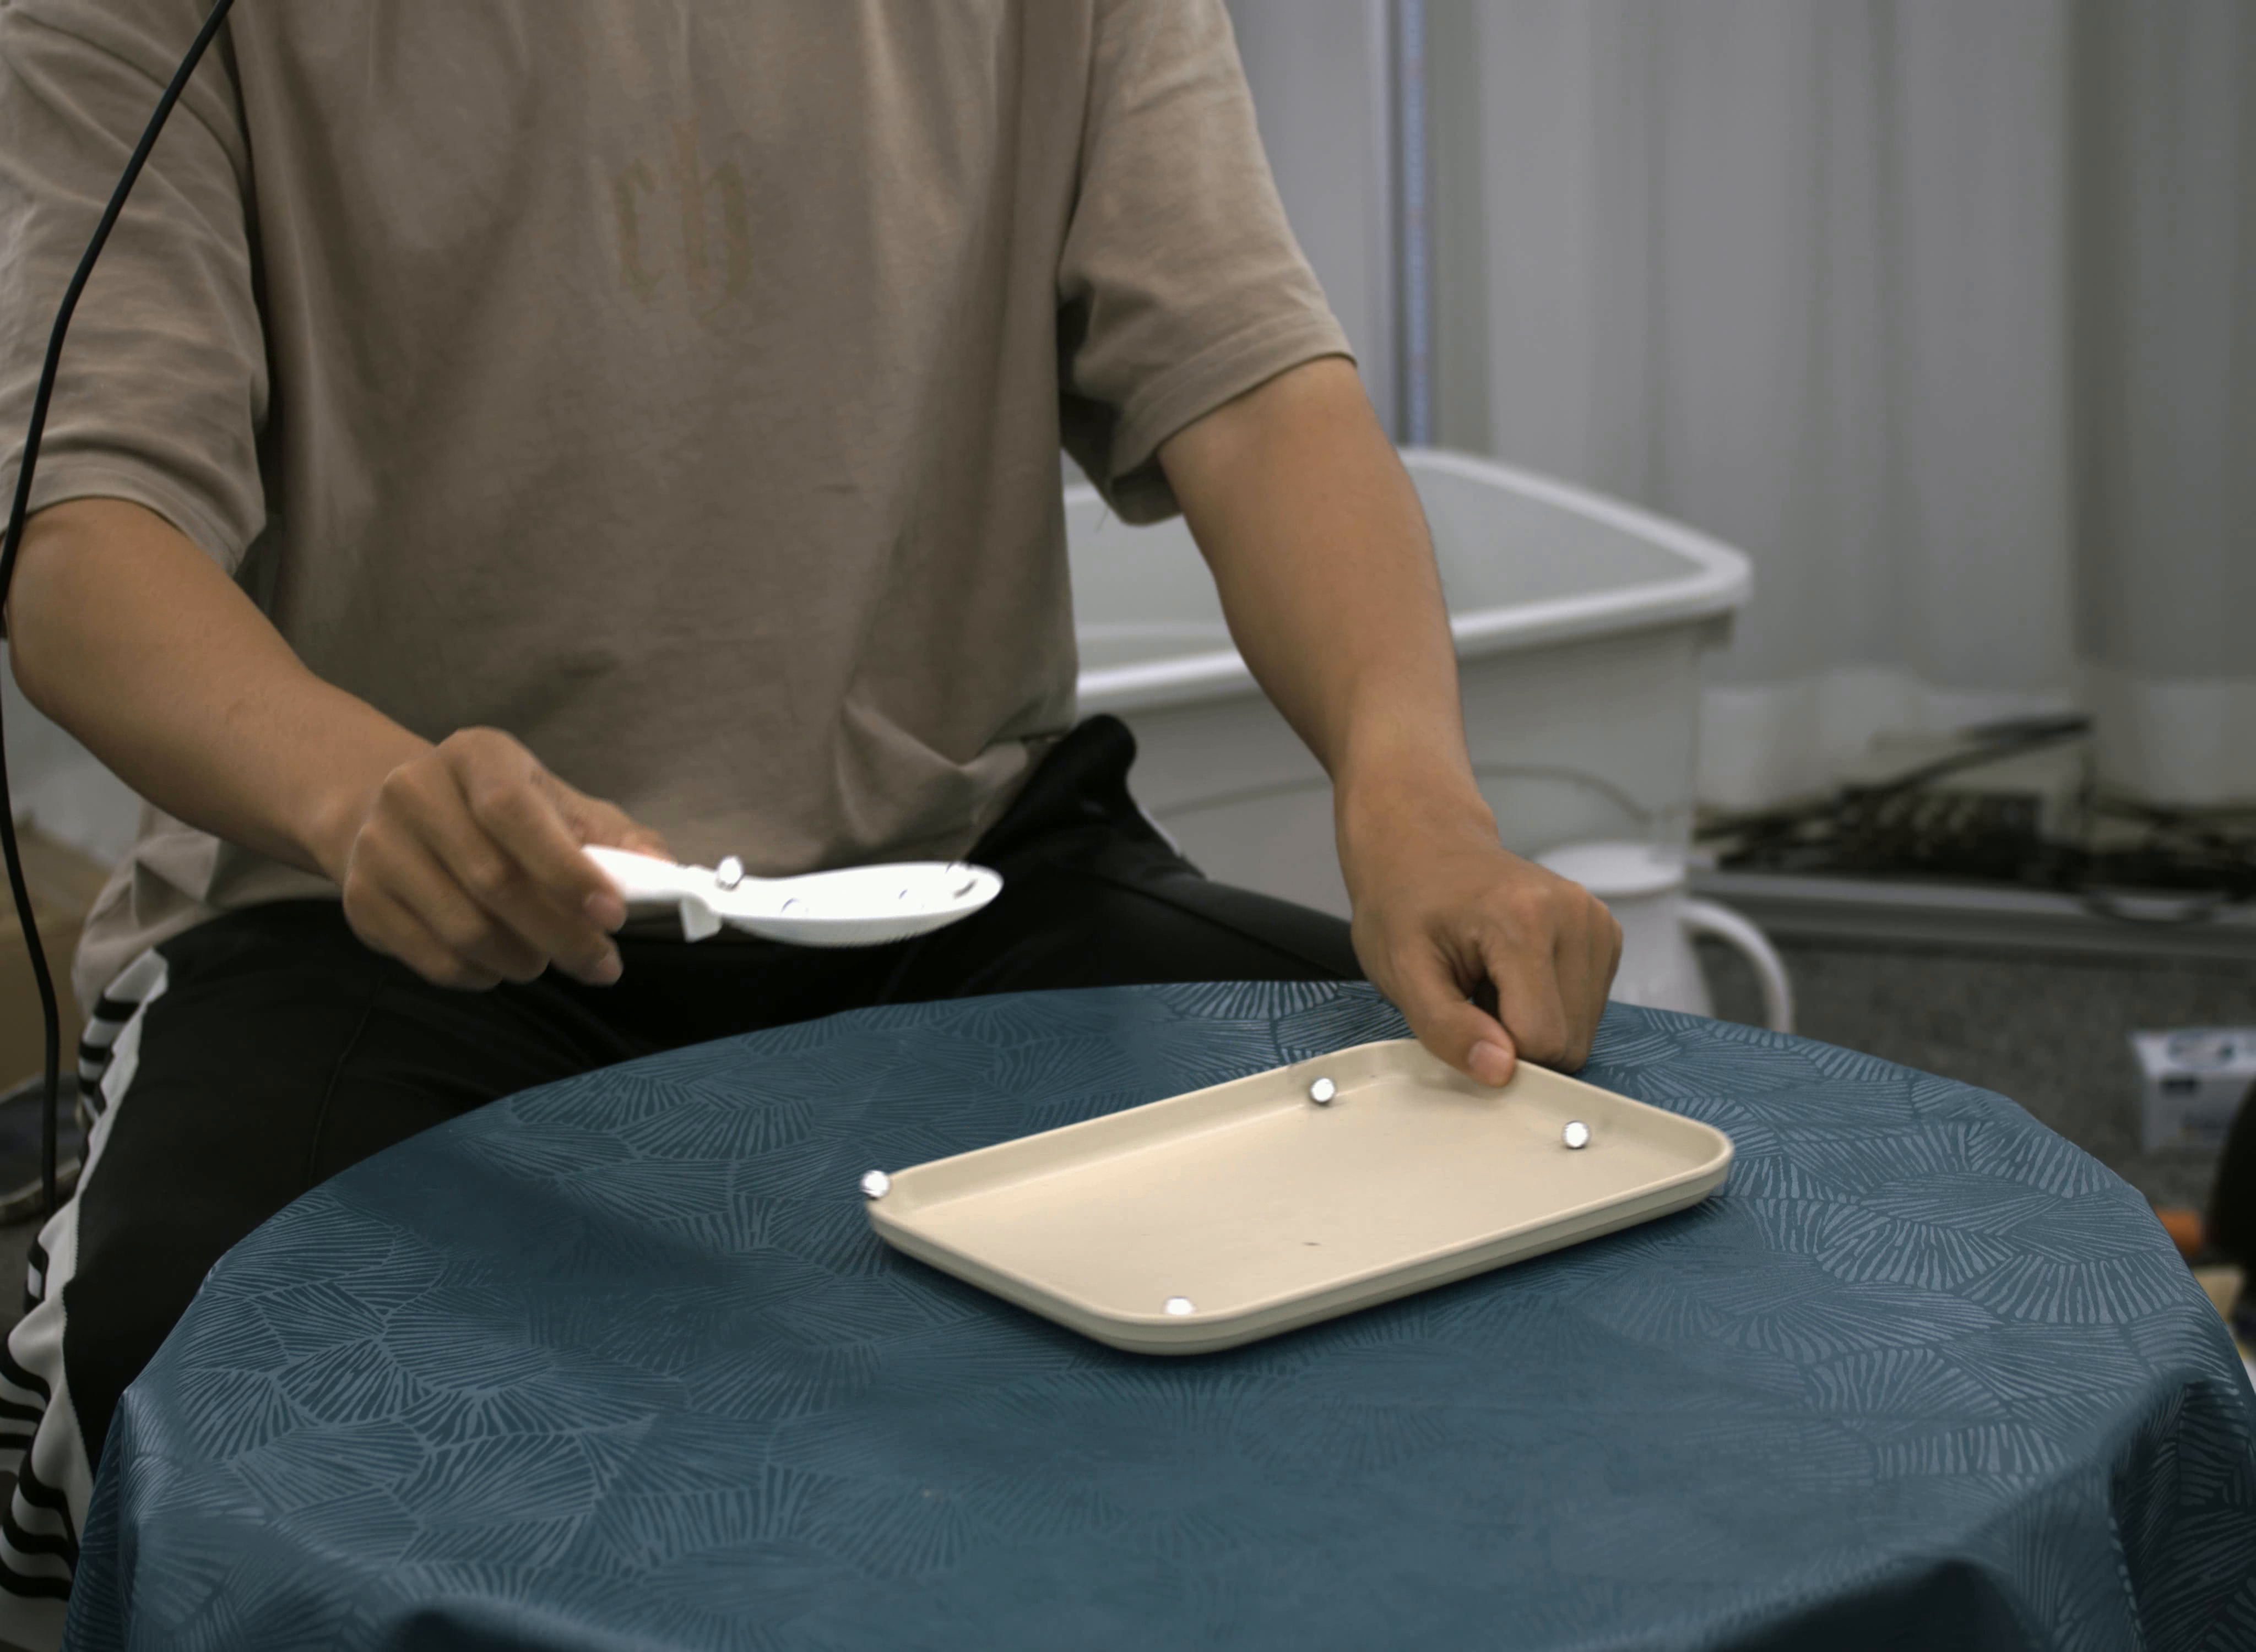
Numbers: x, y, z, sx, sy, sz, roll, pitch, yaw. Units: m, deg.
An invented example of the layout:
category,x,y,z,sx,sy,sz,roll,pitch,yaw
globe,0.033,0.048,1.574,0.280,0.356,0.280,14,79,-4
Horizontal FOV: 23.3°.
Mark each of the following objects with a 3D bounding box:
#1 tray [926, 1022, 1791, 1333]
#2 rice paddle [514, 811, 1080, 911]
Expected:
category,x,y,z,sx,sy,sz,roll,pitch,yaw
tray,0.071,0.107,1.679,0.239,0.017,0.172,-13,18,-33
rice paddle,-0.099,0.009,1.610,0.205,0.029,0.069,-1,13,40
